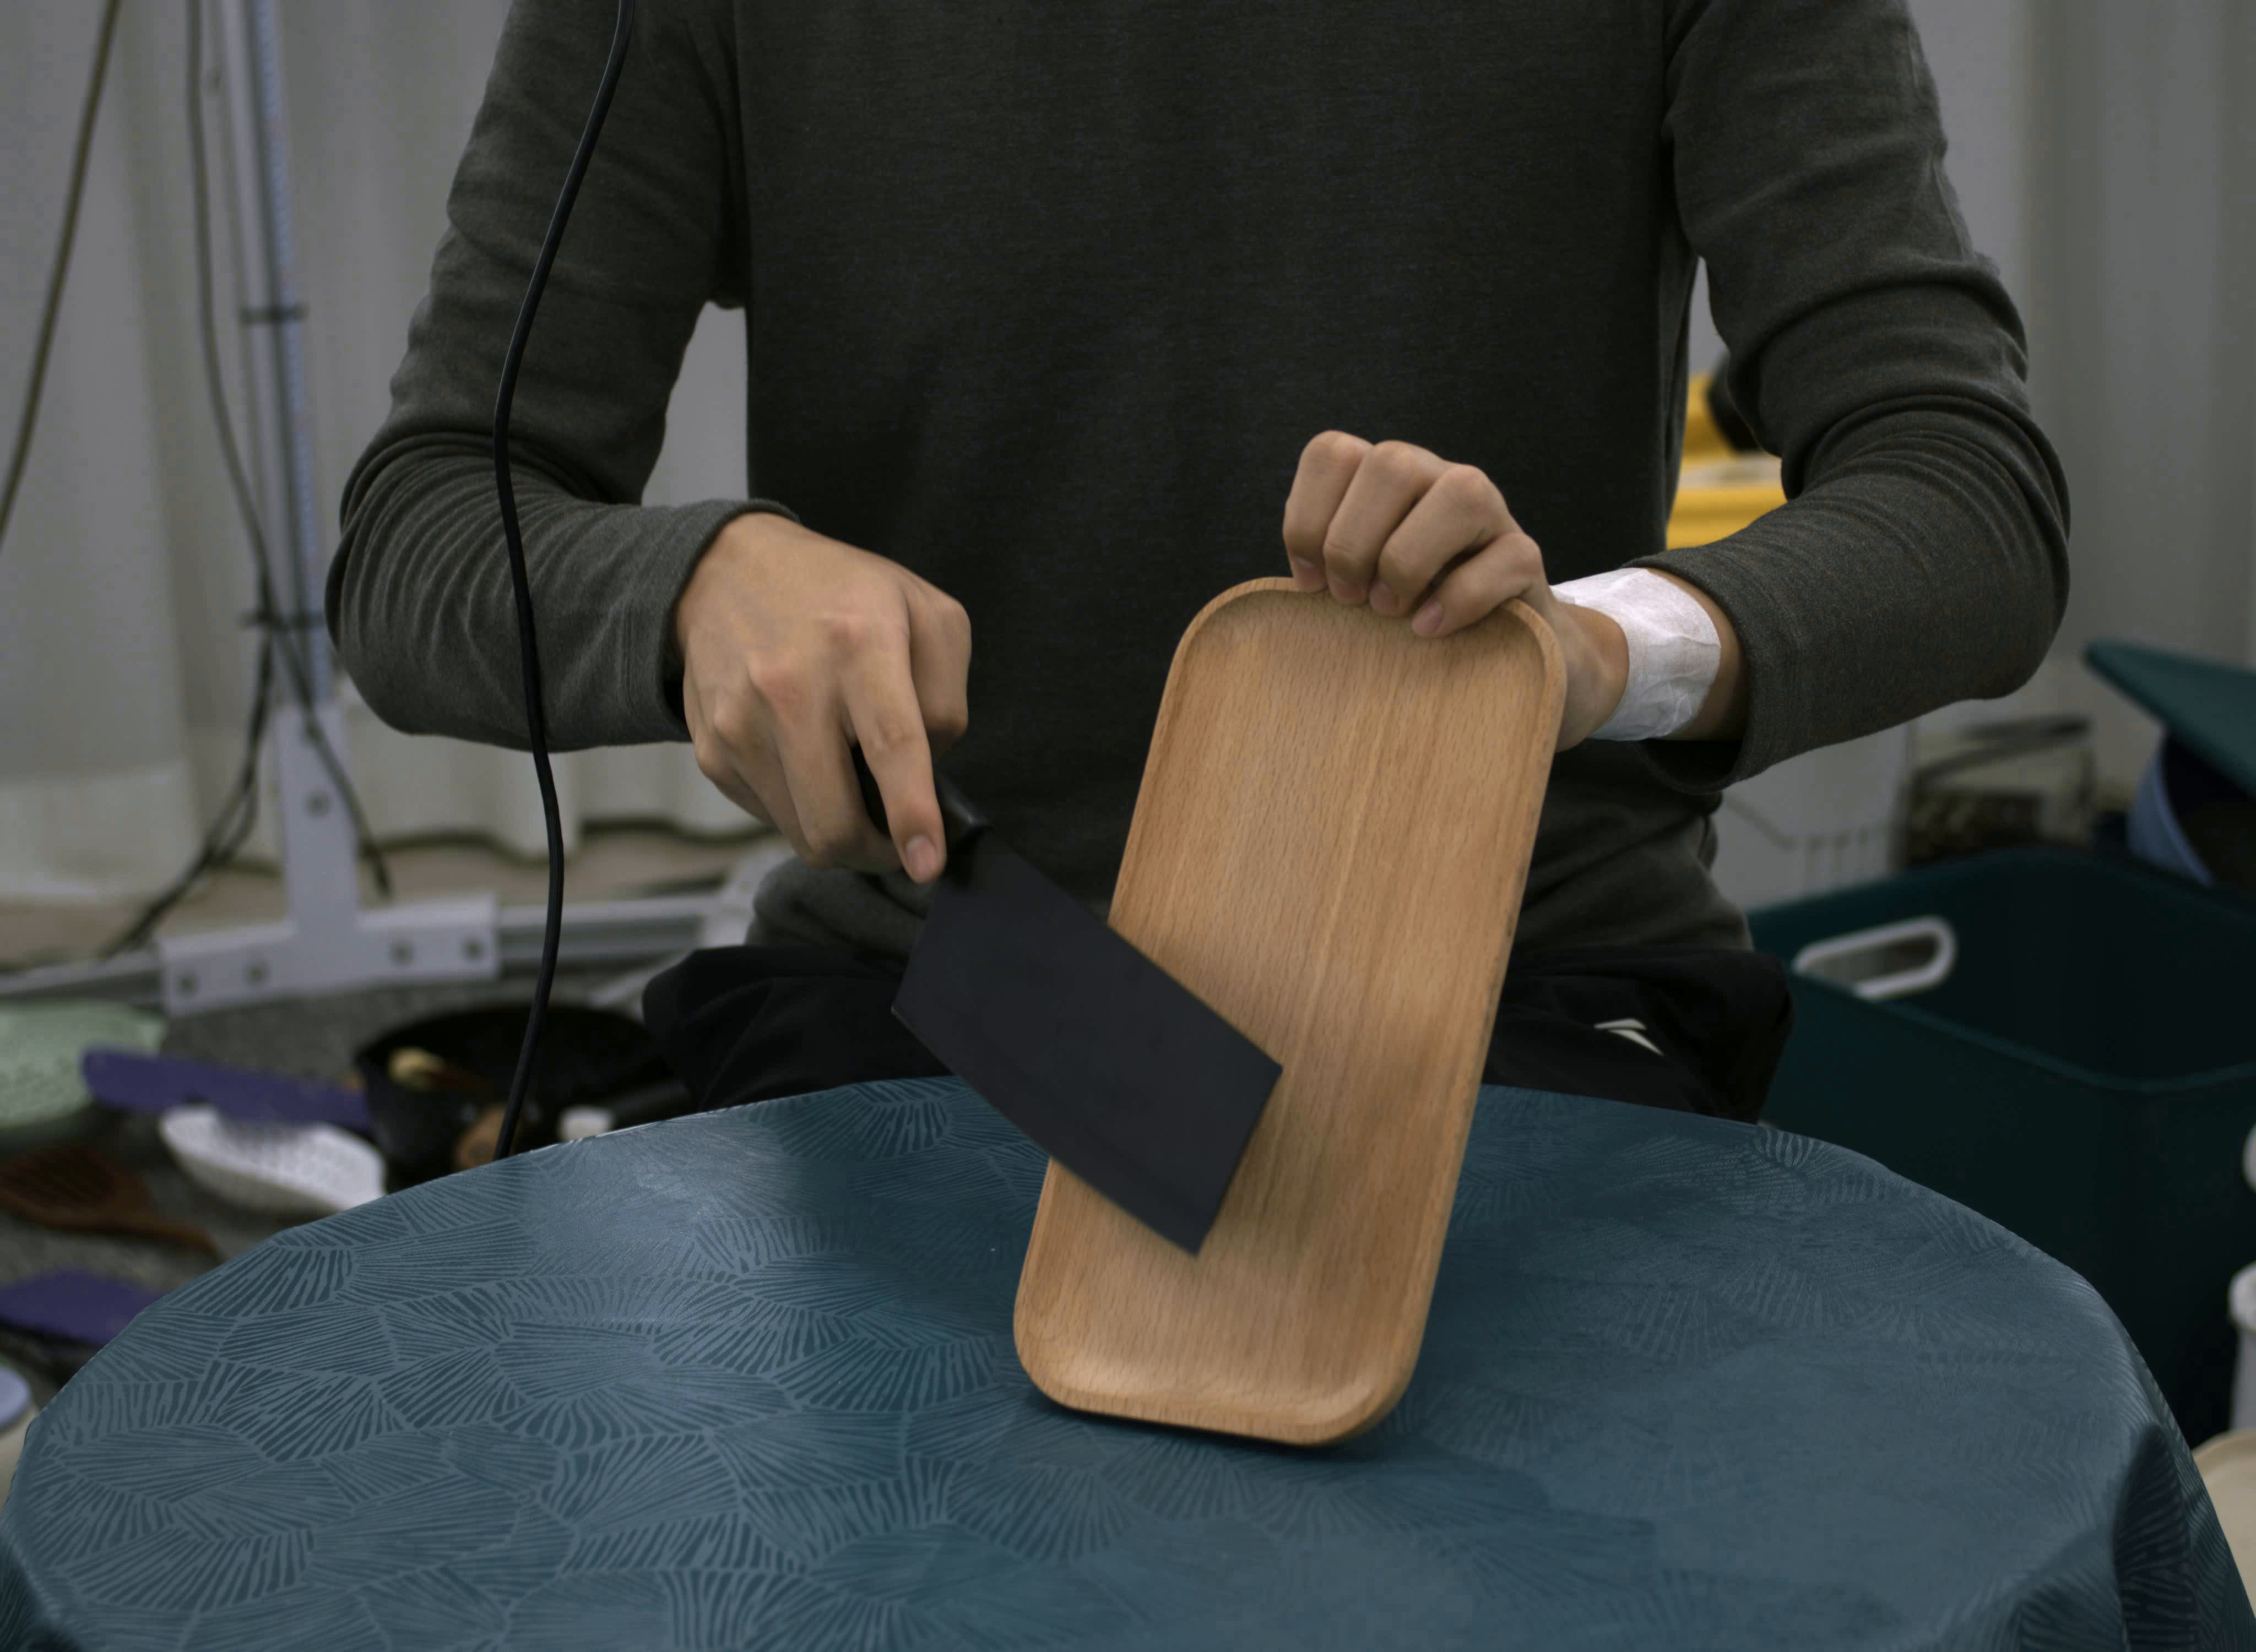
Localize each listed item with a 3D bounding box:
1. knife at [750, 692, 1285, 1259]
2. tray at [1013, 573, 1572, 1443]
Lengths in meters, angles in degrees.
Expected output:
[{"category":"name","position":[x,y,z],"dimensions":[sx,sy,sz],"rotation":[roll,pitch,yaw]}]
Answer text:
[{"category":"knife","position":[-0.041,0.035,1.605],"dimensions":[0.020,0.081,0.306],"rotation":[18,16,-36]},{"category":"tray","position":[0.048,0.049,1.544],"dimensions":[0.131,0.253,0.022],"rotation":[6,-18,31]}]
